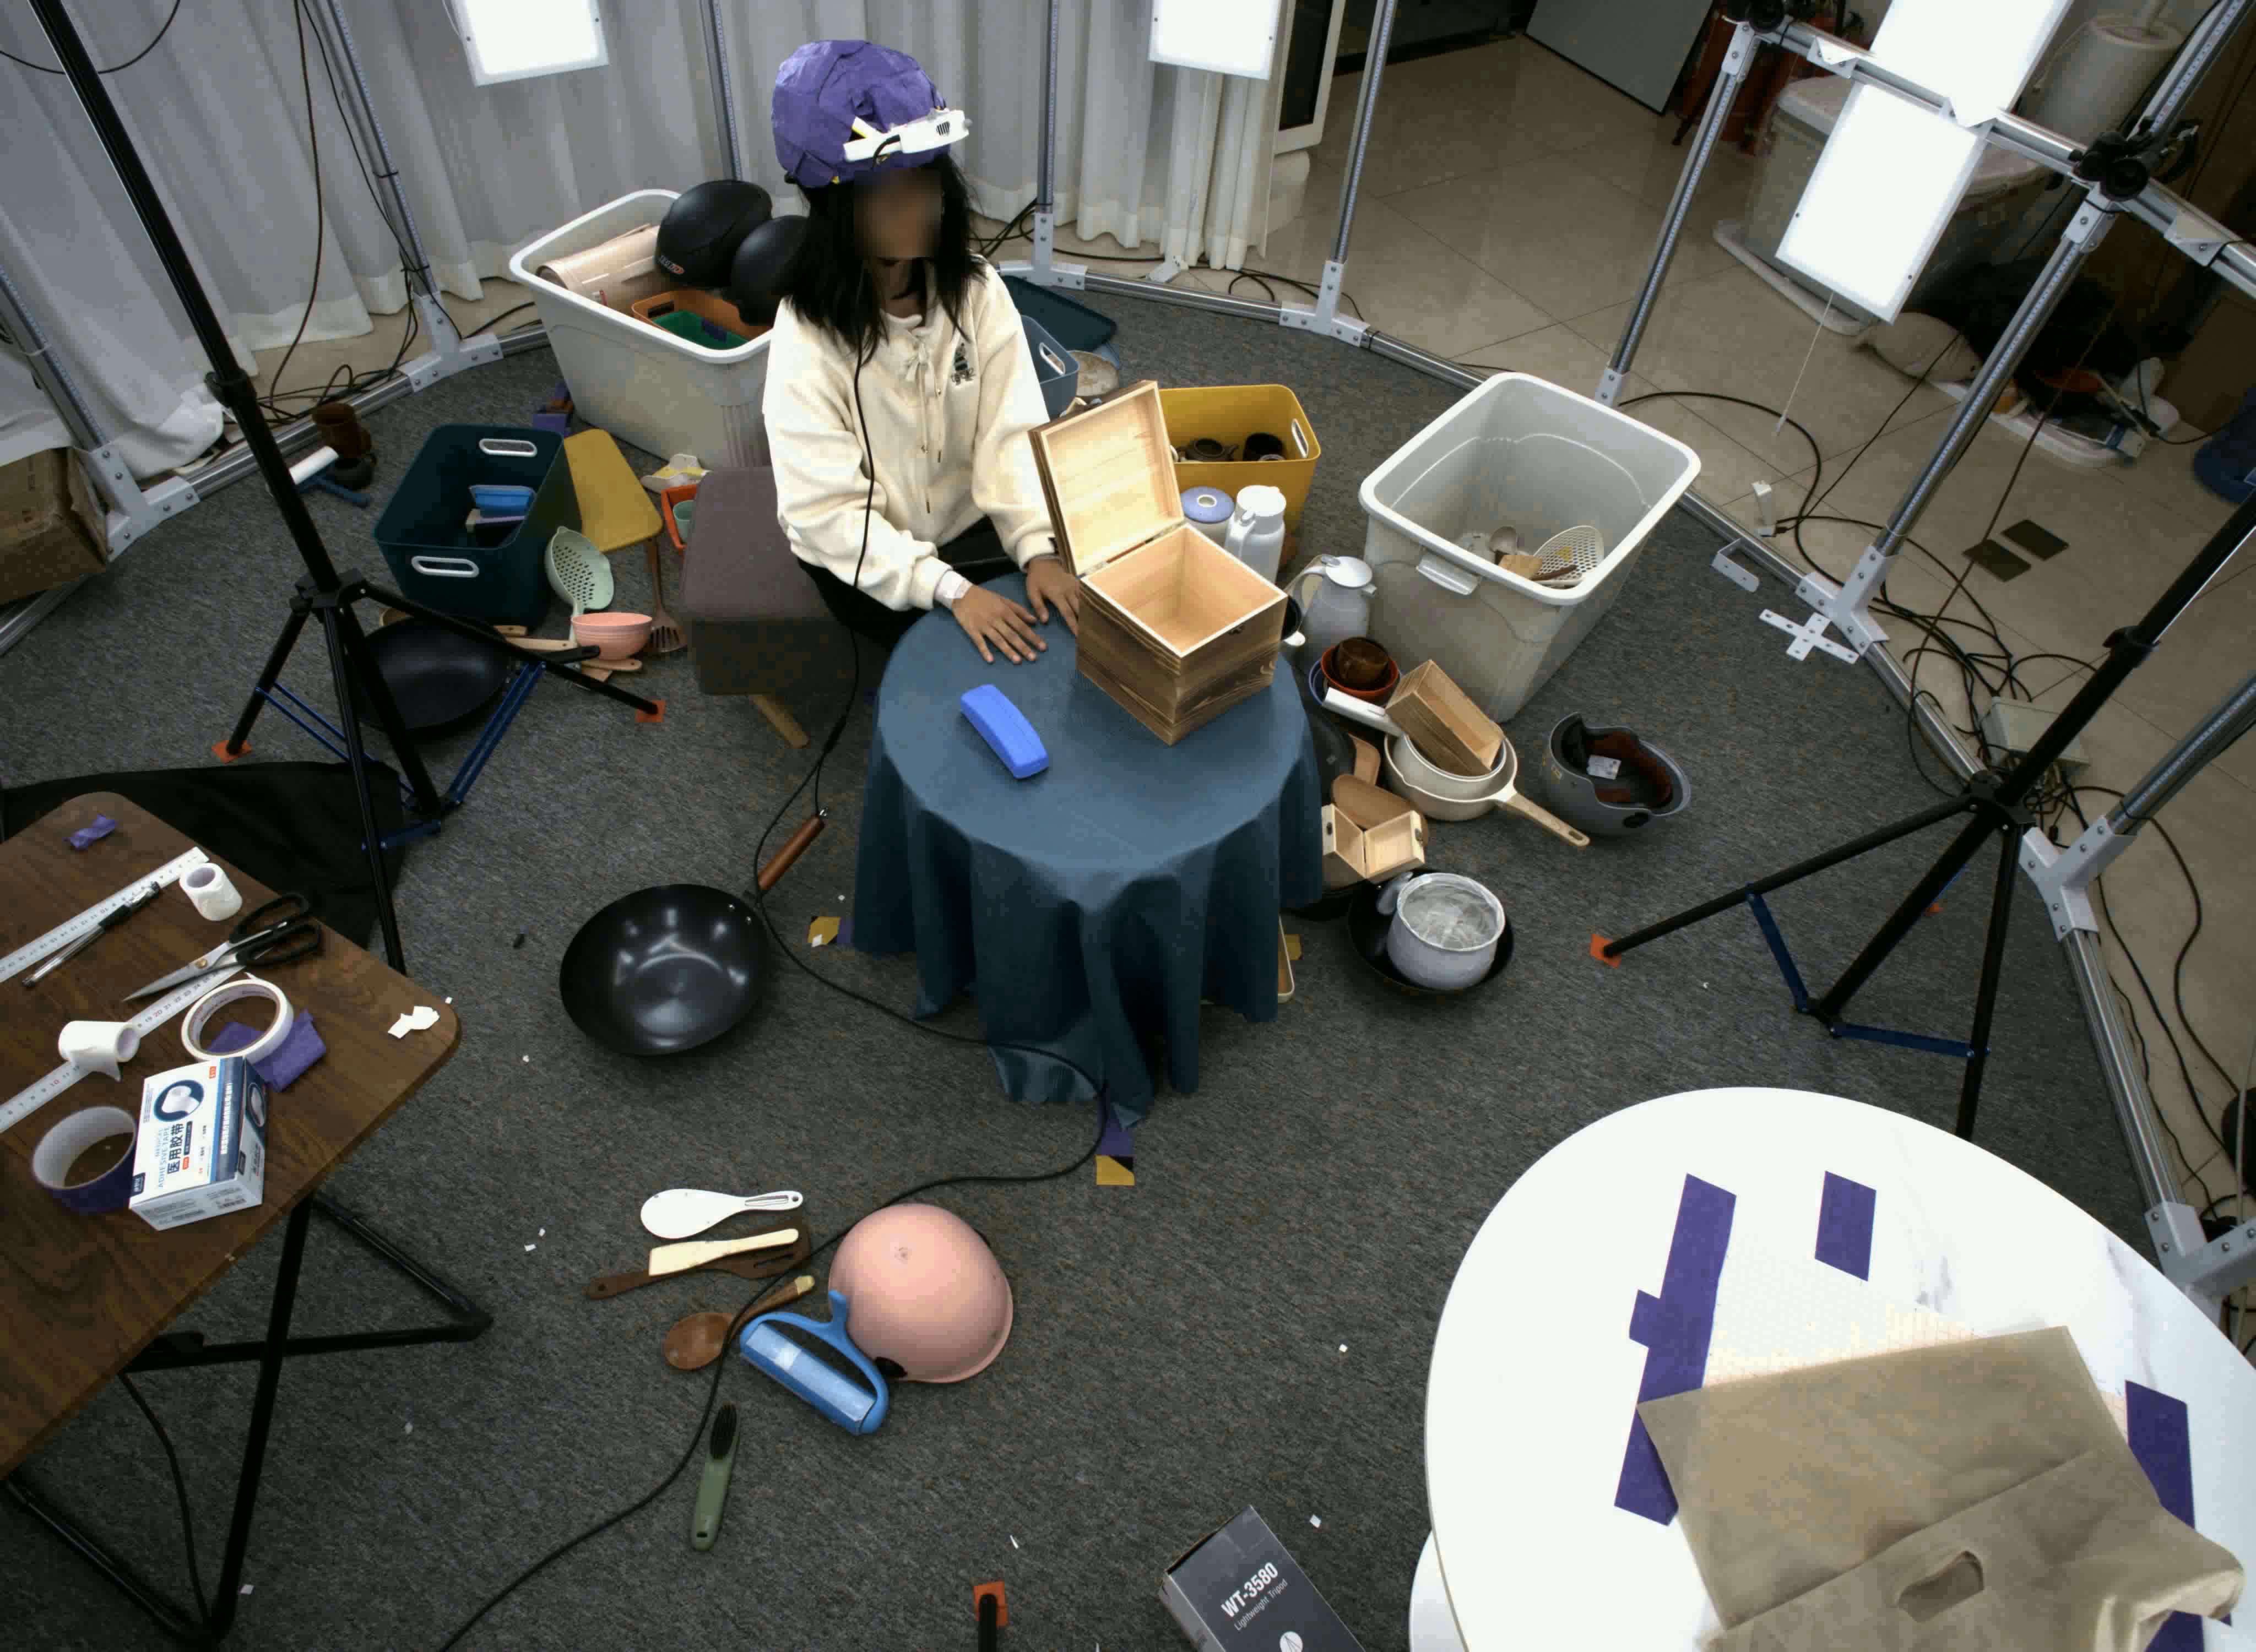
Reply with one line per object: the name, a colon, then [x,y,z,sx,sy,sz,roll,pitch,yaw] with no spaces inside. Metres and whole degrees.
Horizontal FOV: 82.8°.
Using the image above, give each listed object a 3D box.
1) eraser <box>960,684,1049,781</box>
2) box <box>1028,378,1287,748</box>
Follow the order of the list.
eraser: [-0.168,-0.133,1.744,0.054,0.046,0.165,-25,56,-23]
box: [0.040,-0.360,1.756,0.210,0.366,0.327,-33,57,-27]
